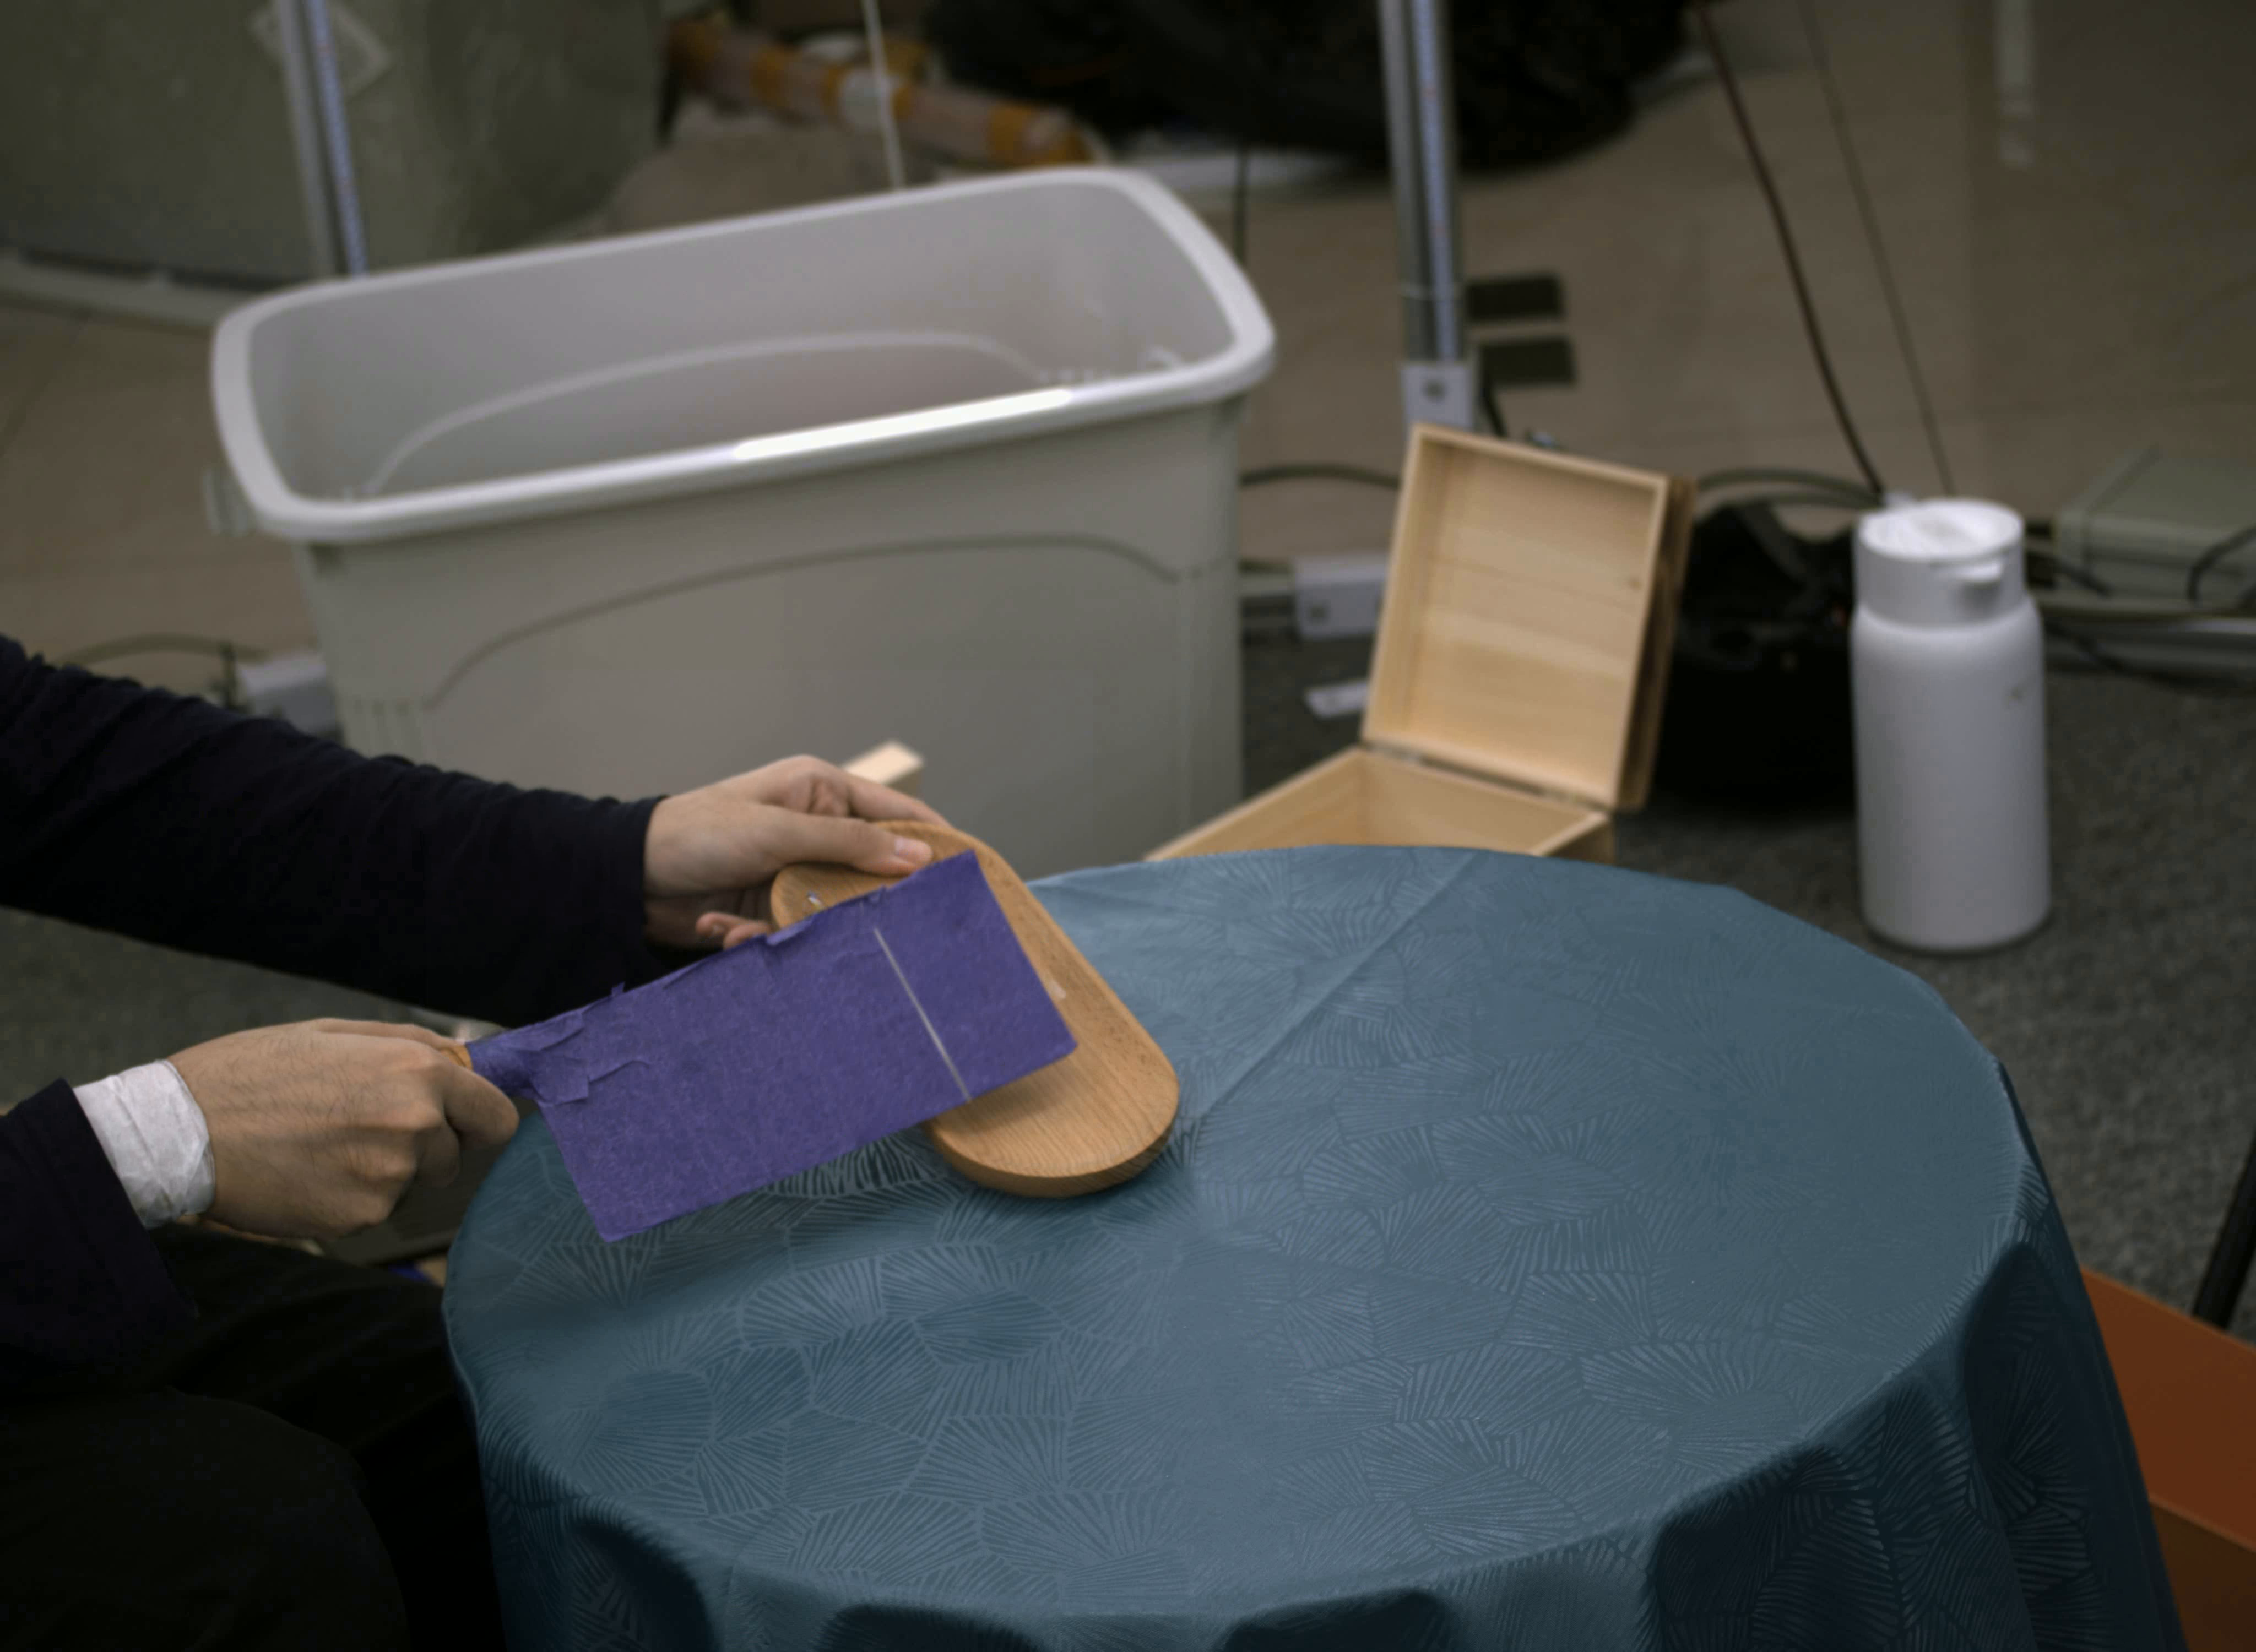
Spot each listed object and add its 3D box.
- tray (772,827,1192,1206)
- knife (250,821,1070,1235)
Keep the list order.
[{"bbox_3d":[-0.059,0.073,2.223,0.101,0.021,0.228,-20,46,-23],"label":"tray"},{"bbox_3d":[-0.168,0.096,2.122,0.313,0.103,0.032,-23,-14,-21],"label":"knife"}]
